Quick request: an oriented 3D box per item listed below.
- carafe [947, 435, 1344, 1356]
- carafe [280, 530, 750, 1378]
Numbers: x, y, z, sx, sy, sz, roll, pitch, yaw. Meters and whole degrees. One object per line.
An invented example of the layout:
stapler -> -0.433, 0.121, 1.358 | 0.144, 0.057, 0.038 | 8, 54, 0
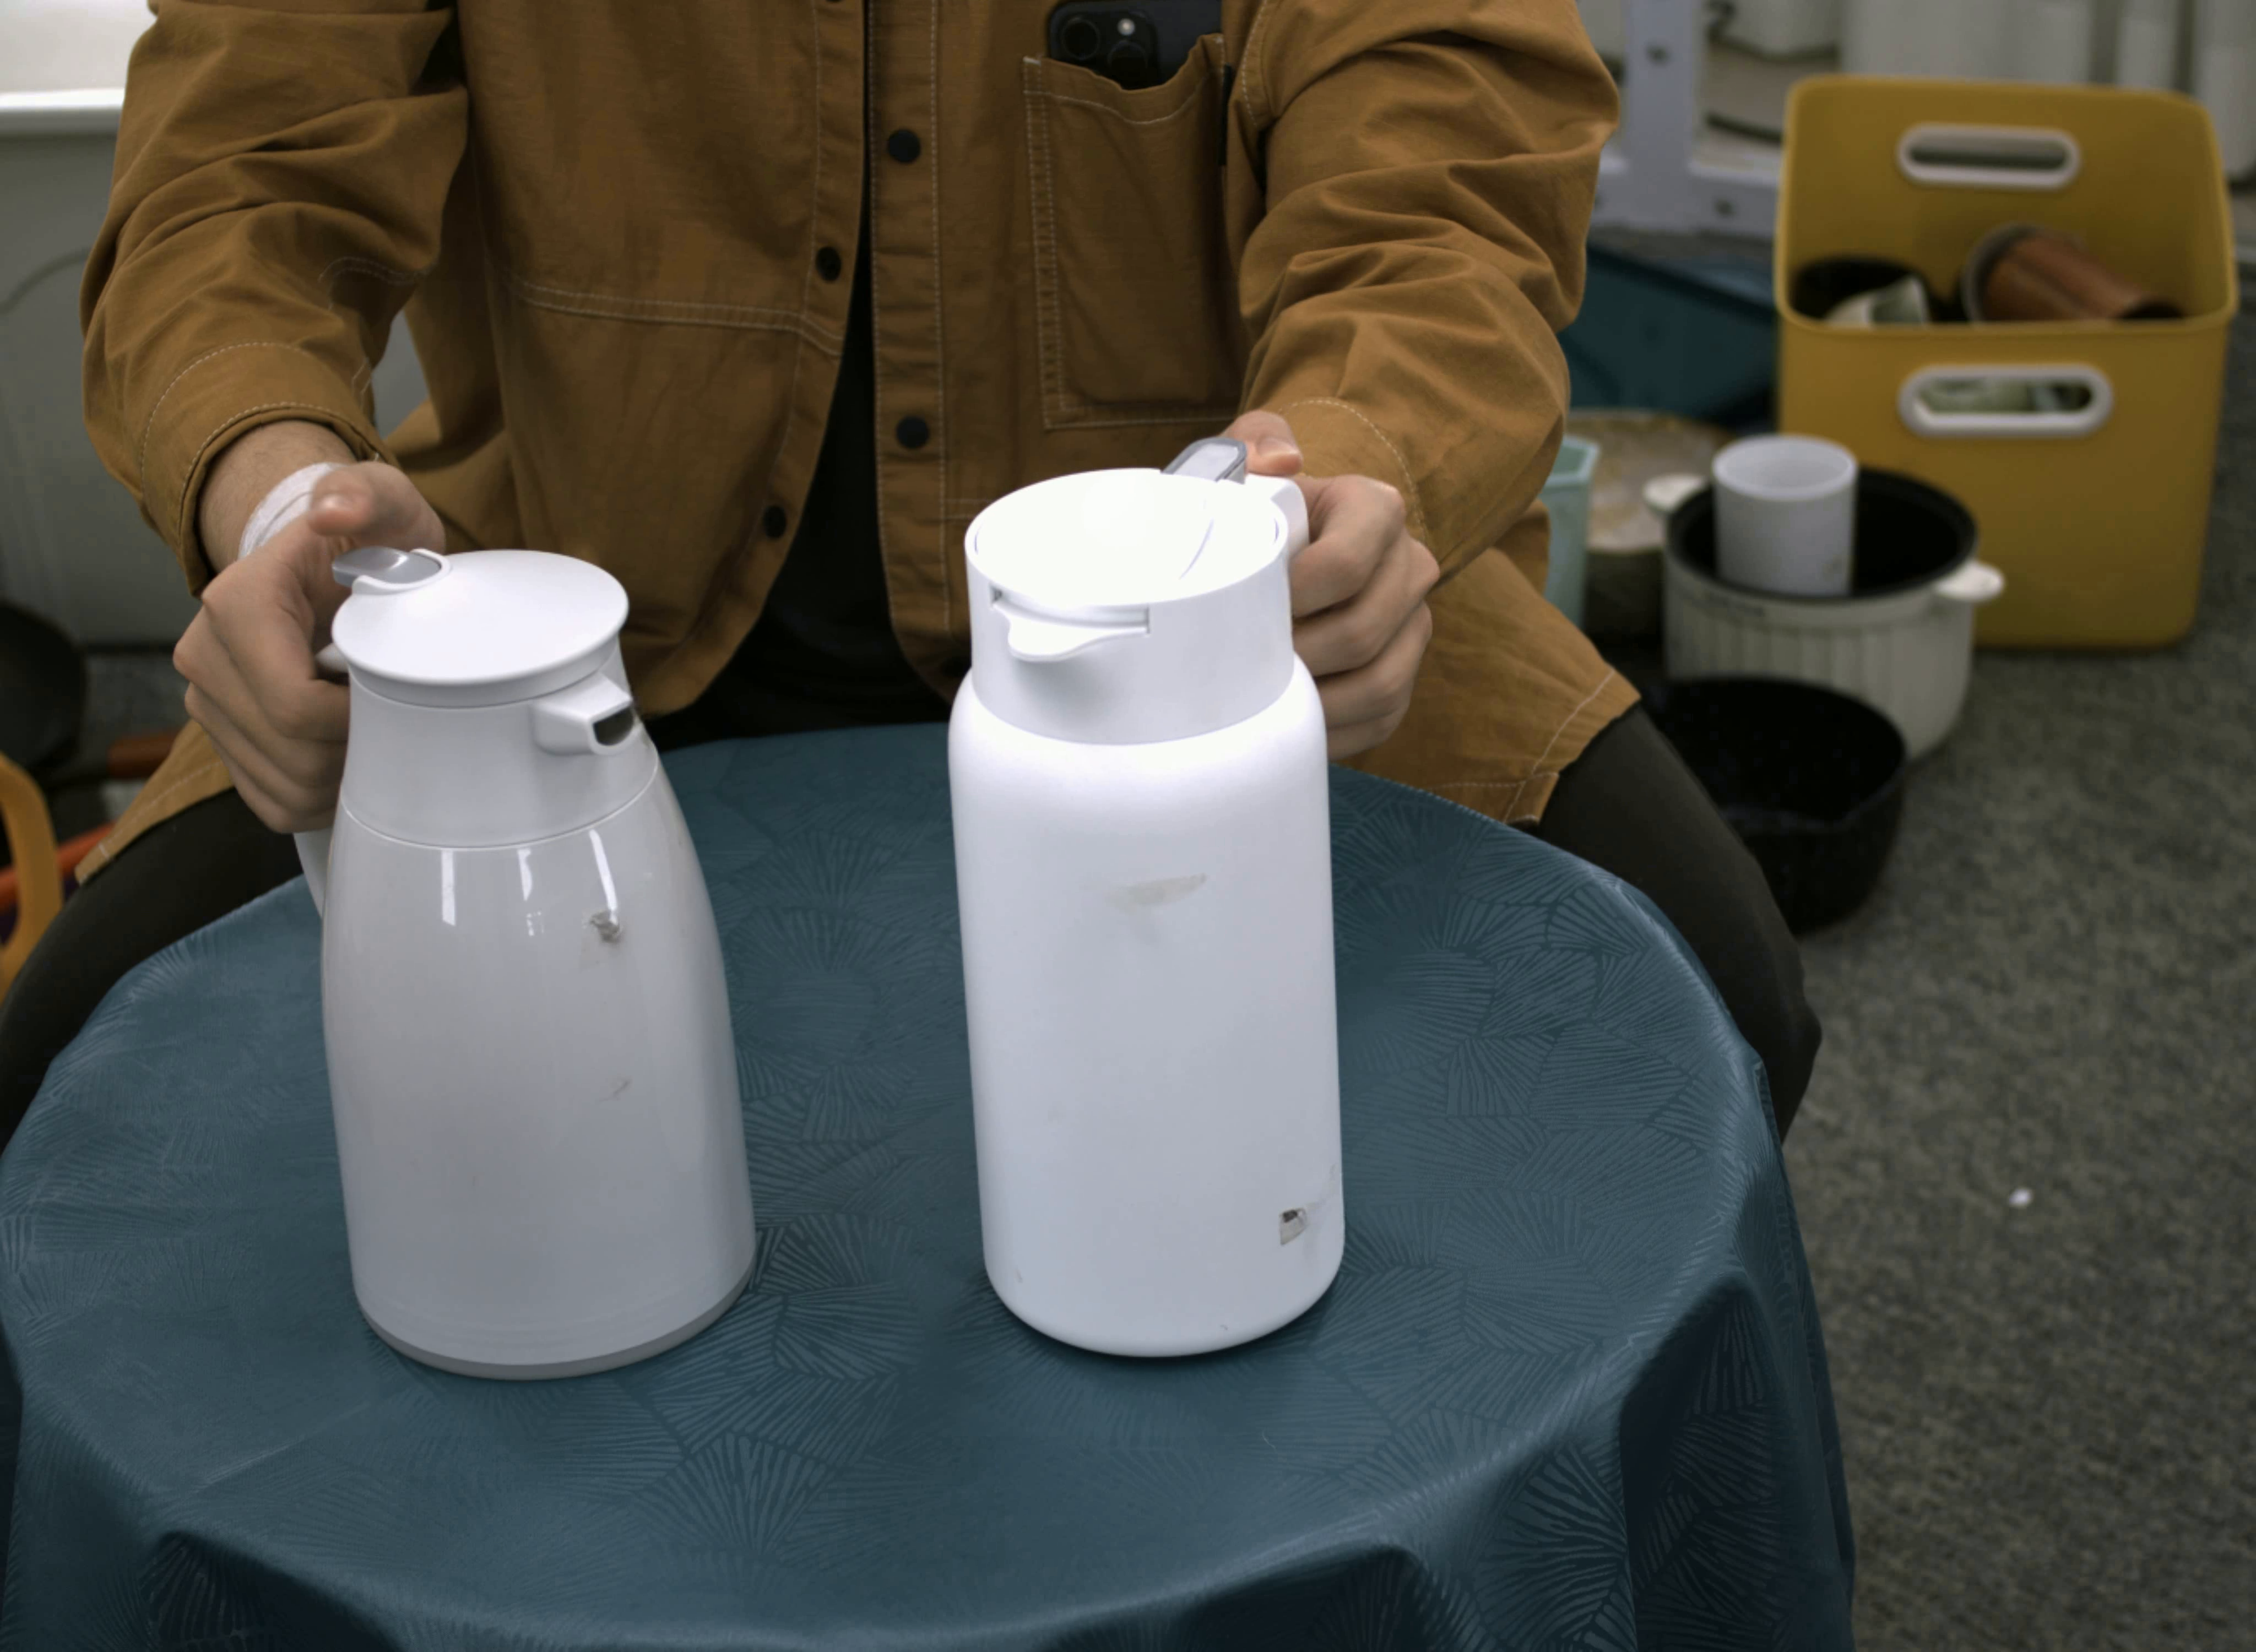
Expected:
carafe -> 0.011, 0.018, 1.771 | 0.123, 0.266, 0.175 | 7, 27, 24
carafe -> -0.208, 0.030, 1.788 | 0.167, 0.246, 0.134 | 20, 34, 40
